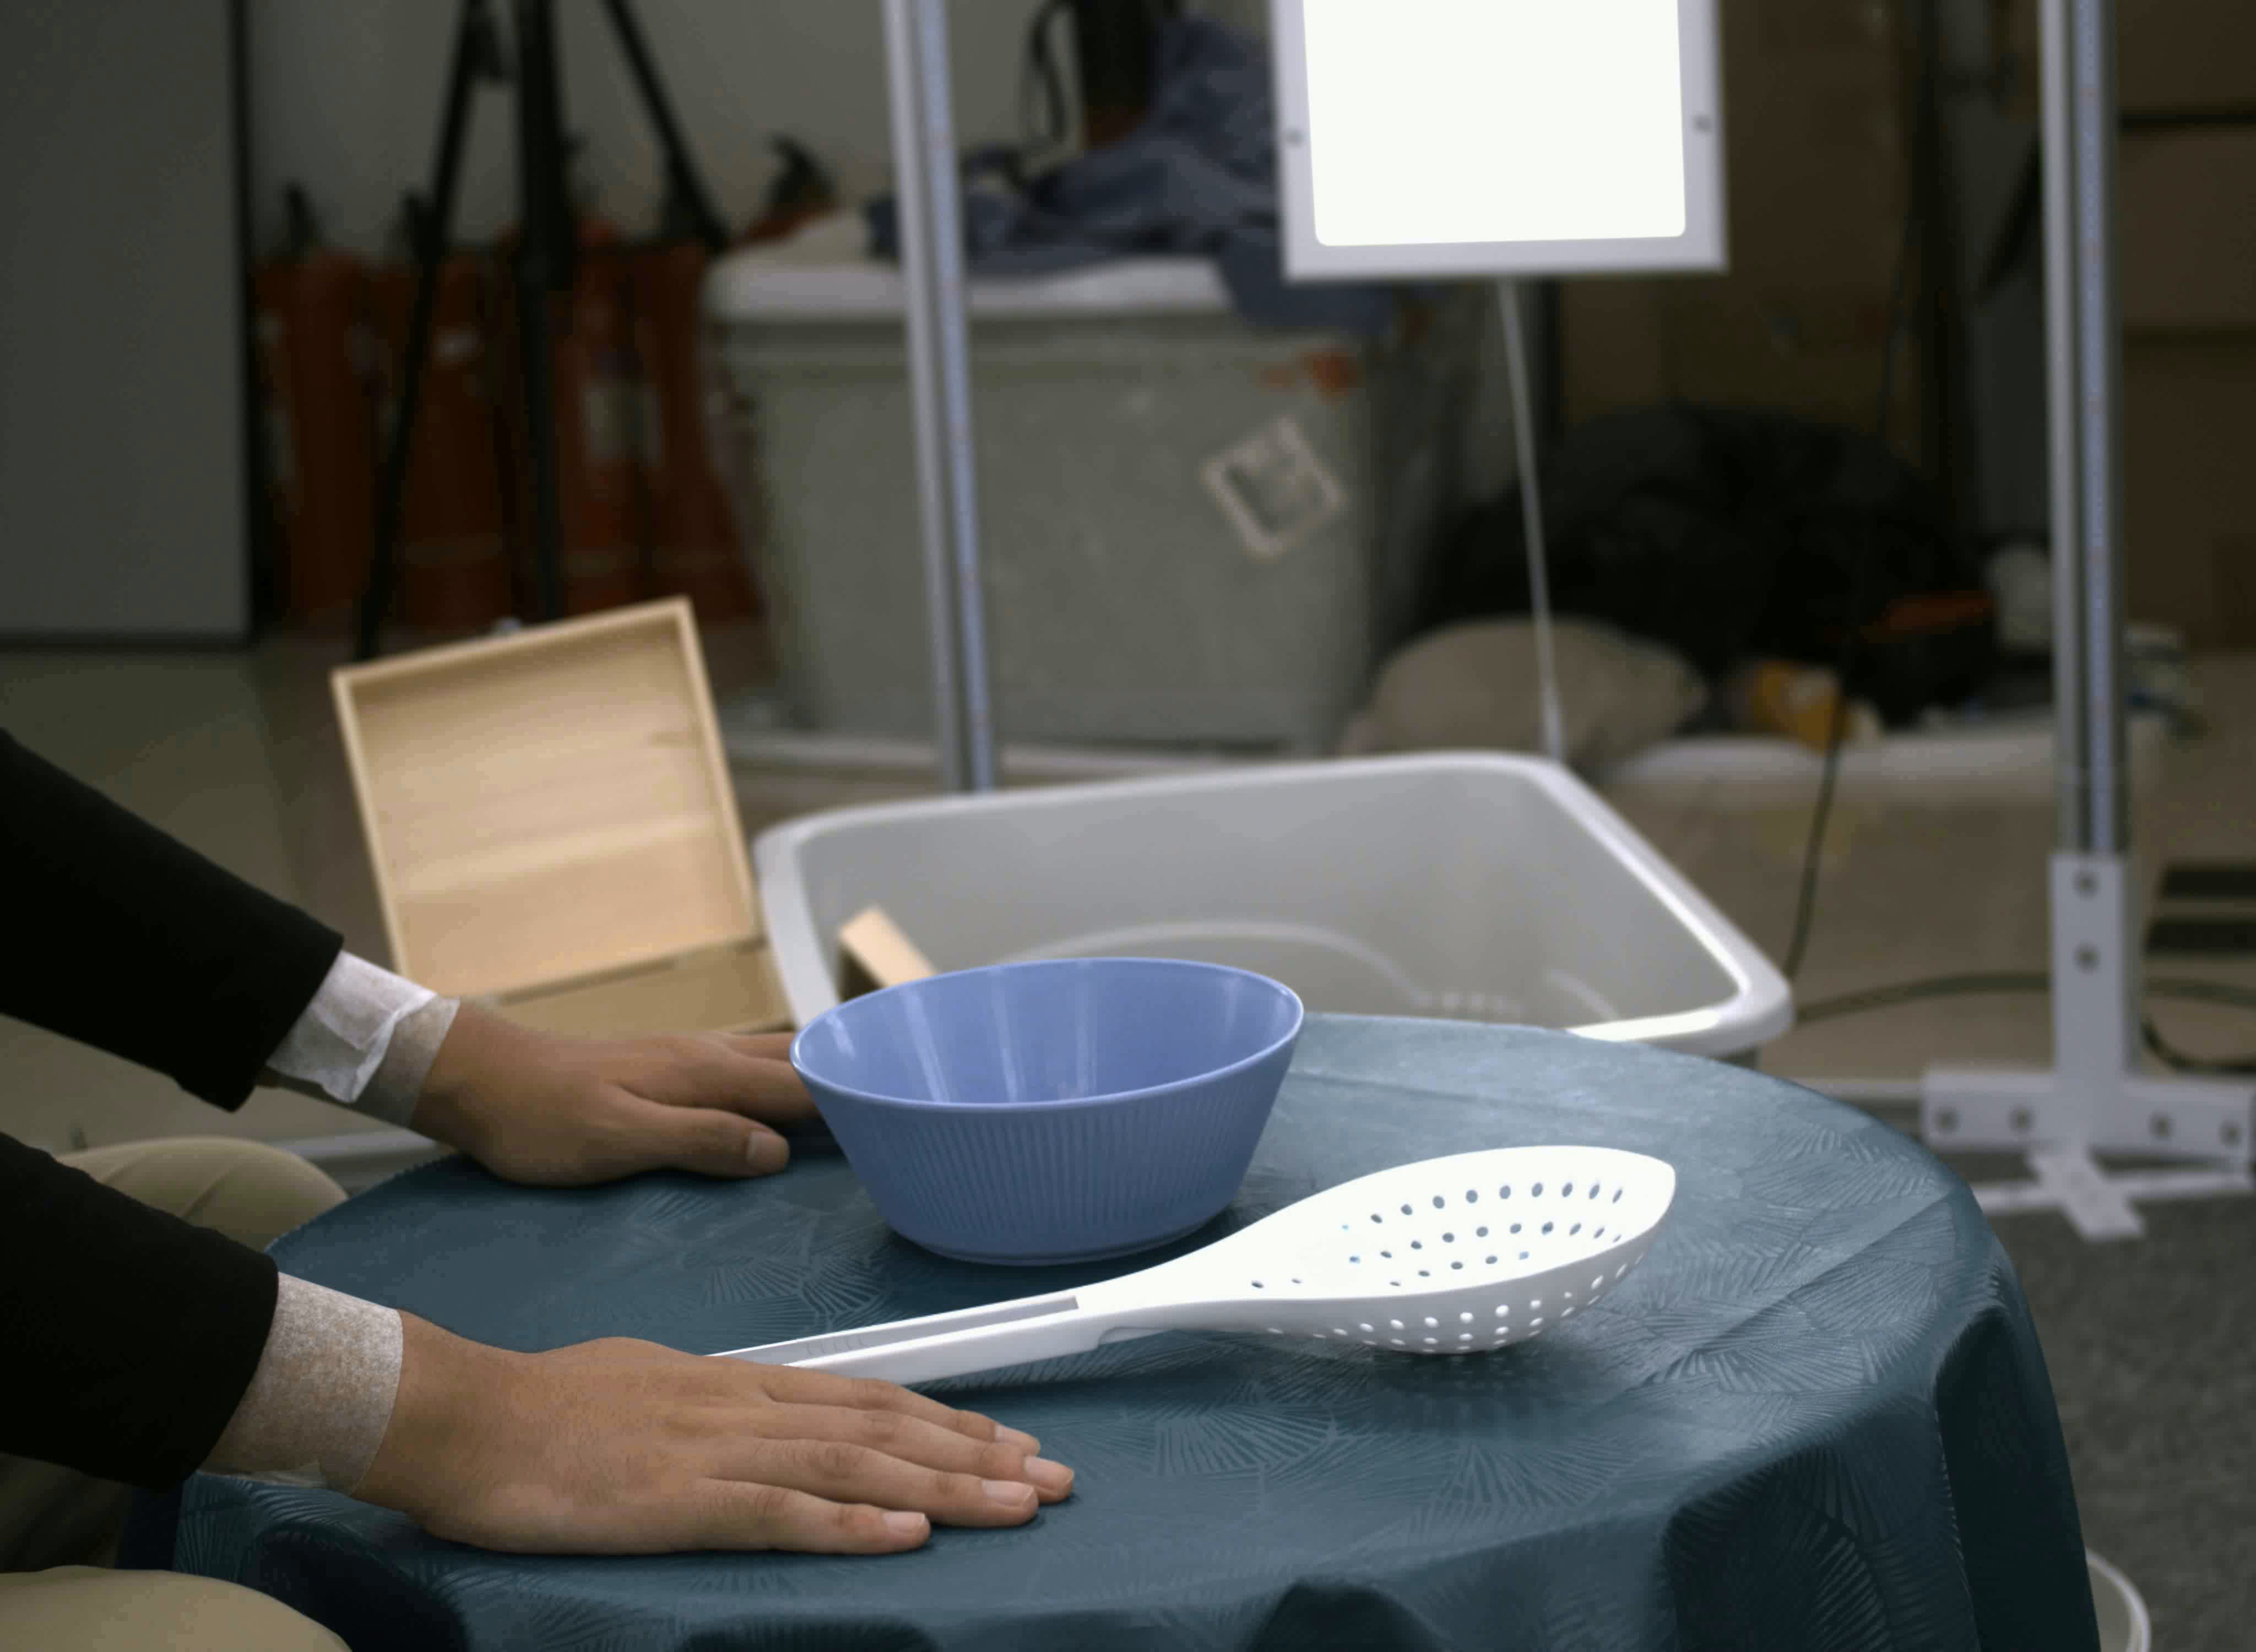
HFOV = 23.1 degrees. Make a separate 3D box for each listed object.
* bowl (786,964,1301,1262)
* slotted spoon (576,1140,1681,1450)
[{"bbox_3d":[-0.026,0.099,1.871,0.175,0.070,0.176,-6,13,0],"label":"bowl"},{"bbox_3d":[0.001,0.149,1.709,0.348,0.046,0.136,-7,13,-3],"label":"slotted spoon"}]
